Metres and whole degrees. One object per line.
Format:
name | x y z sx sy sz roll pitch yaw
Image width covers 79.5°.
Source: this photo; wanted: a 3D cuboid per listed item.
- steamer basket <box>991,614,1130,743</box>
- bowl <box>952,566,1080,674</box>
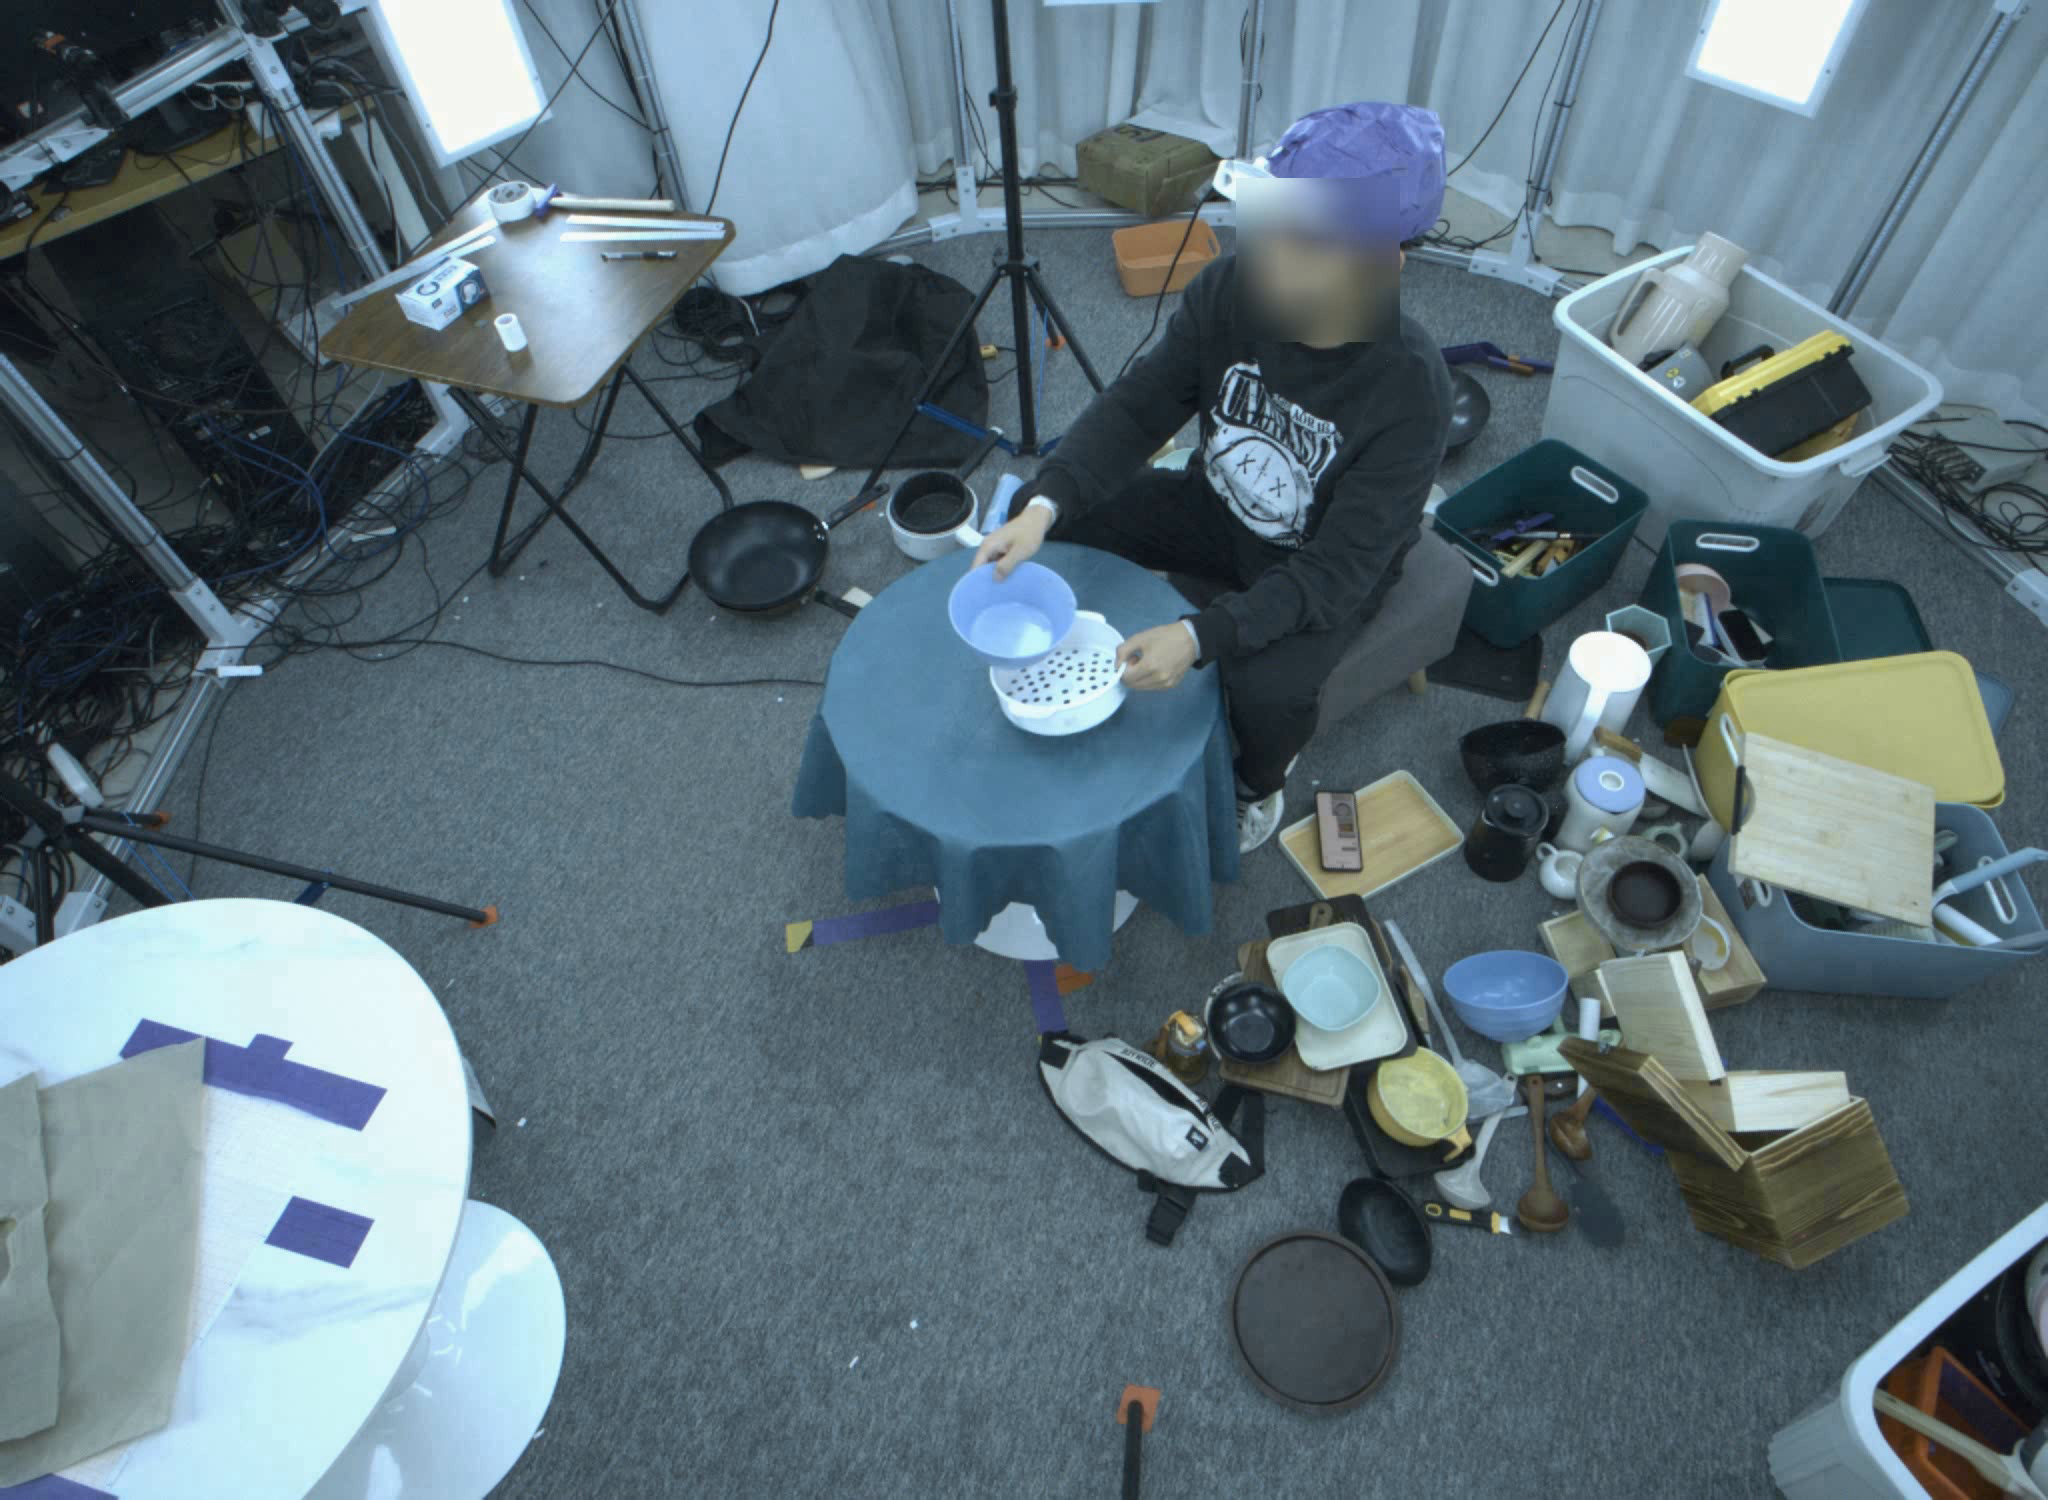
steamer basket | 0.056 -0.100 1.796 0.199 0.070 0.230 11 53 22
bowl | -0.013 -0.171 1.714 0.176 0.071 0.174 3 57 -3
